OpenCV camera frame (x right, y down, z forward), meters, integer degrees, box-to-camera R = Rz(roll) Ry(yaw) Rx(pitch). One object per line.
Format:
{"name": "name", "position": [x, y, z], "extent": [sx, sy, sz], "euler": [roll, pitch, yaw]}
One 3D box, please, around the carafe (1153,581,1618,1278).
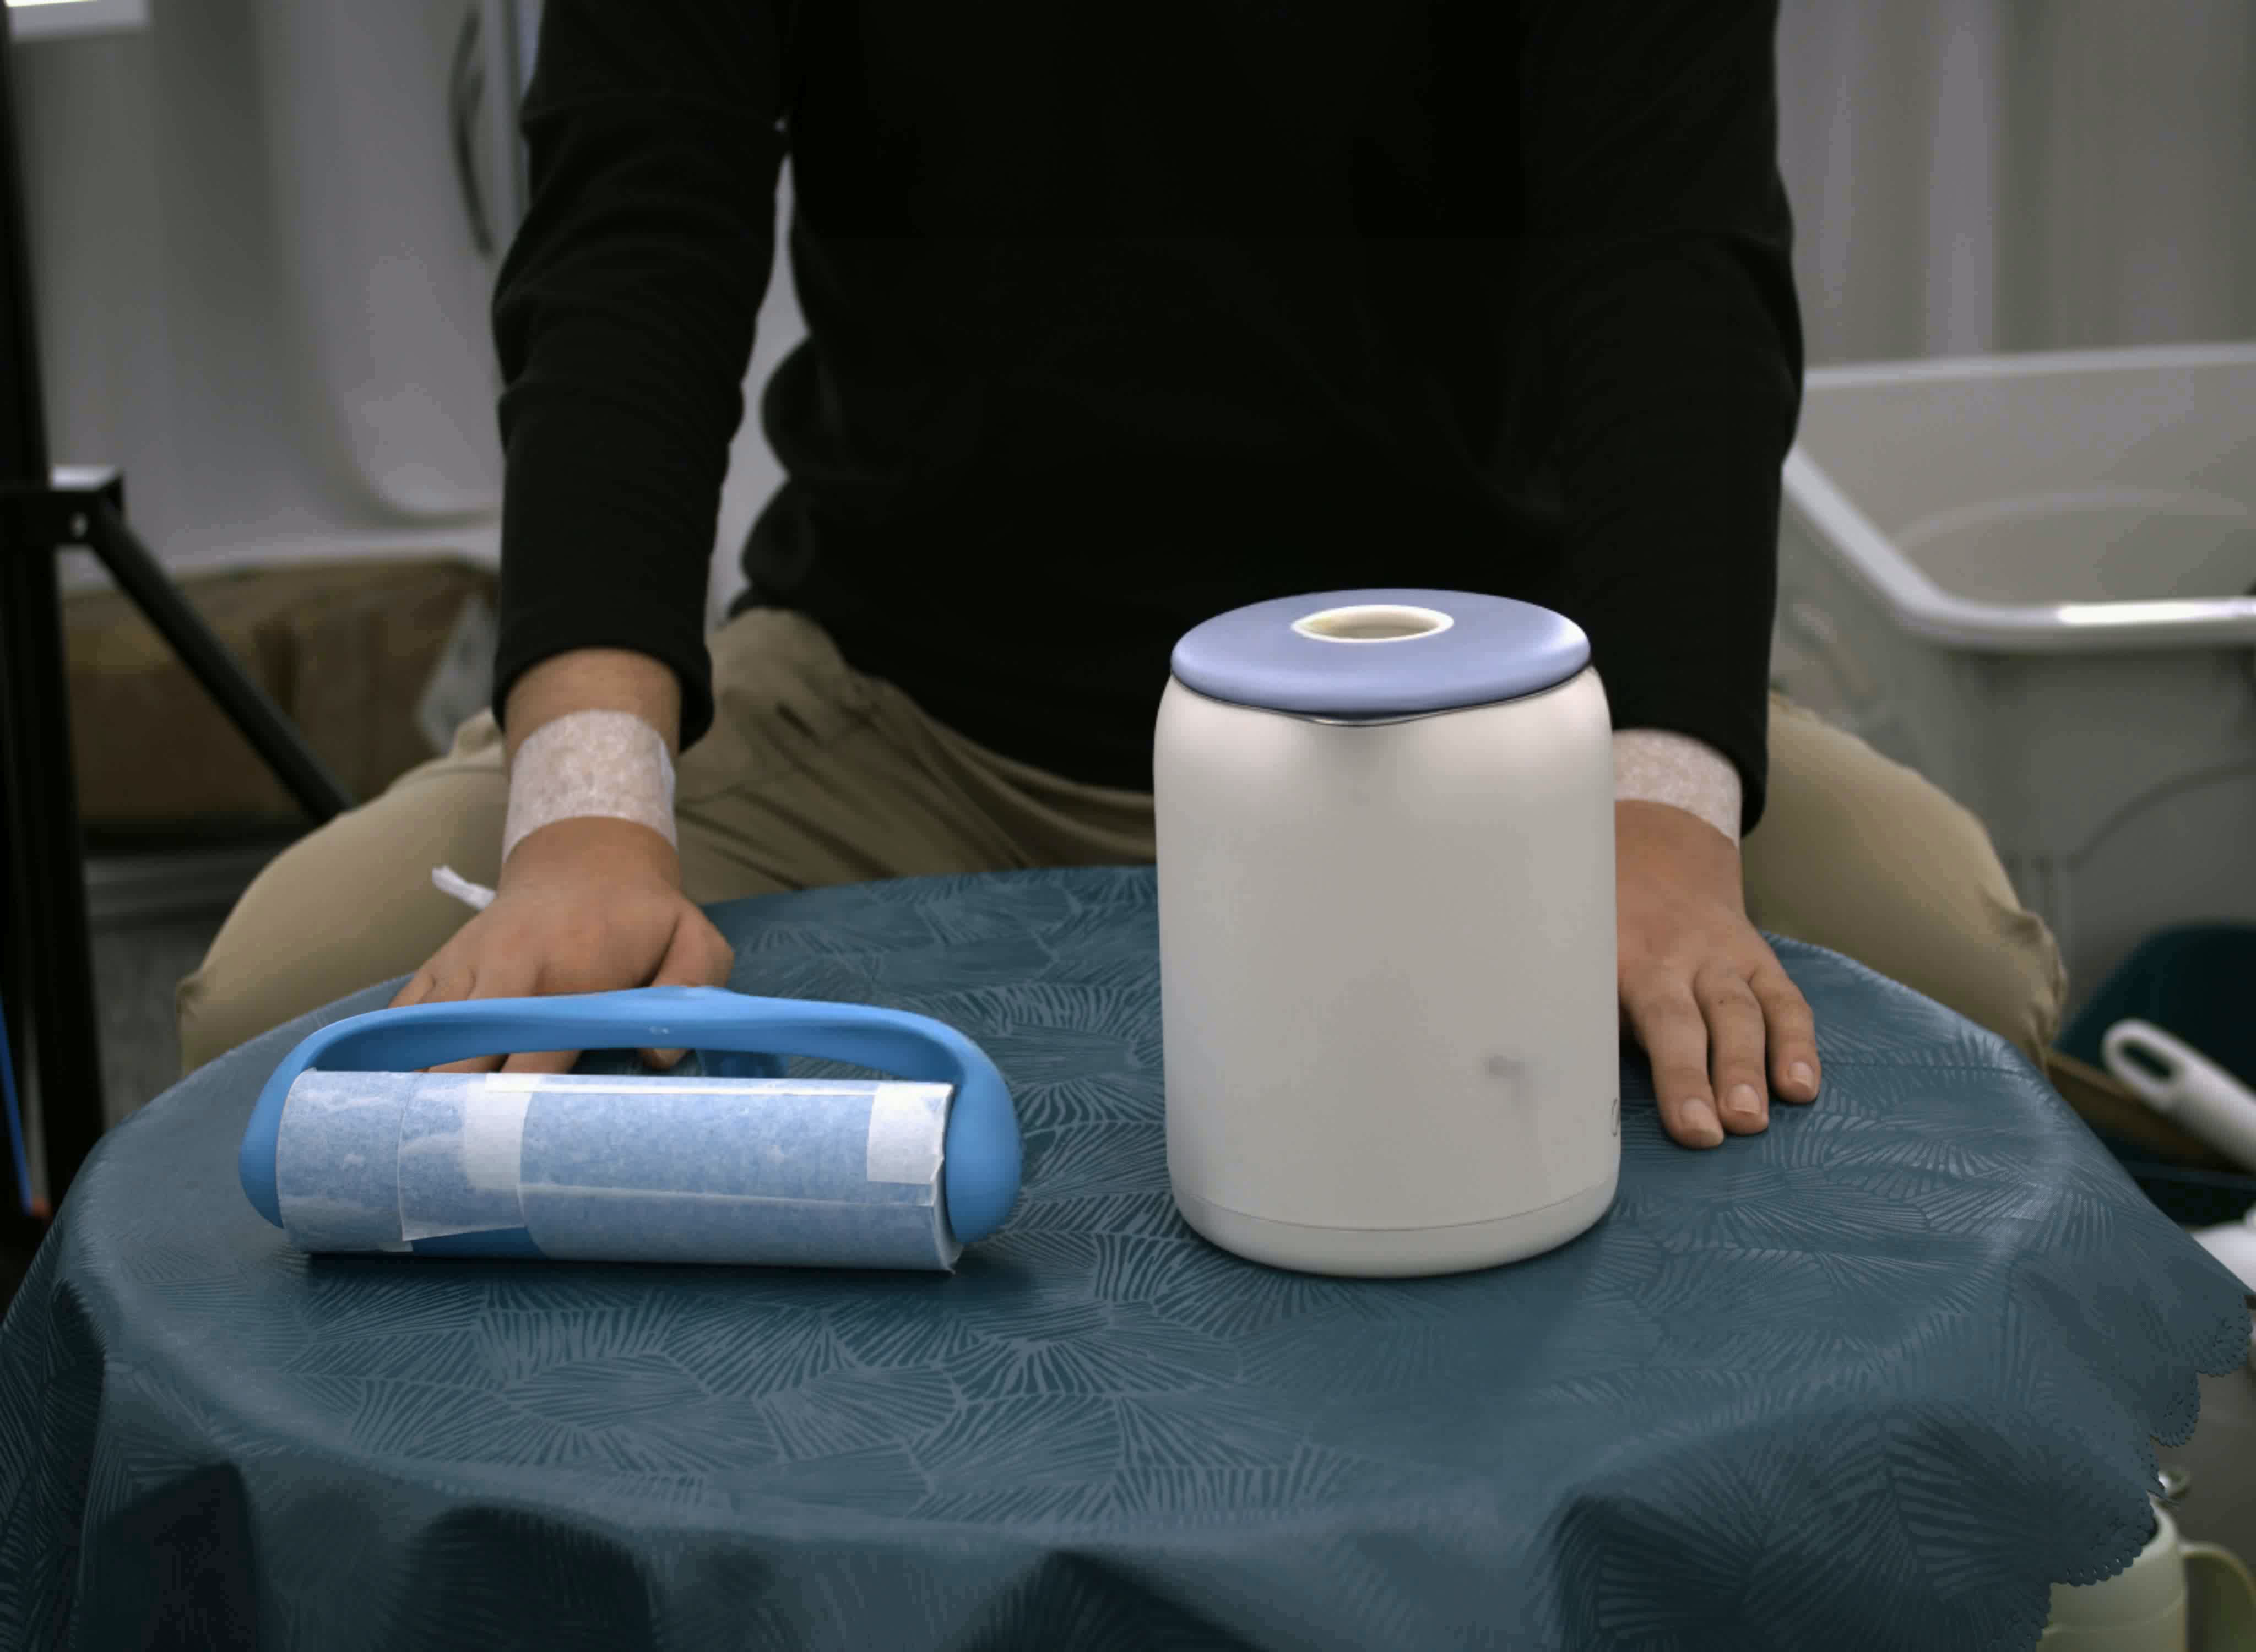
{"name": "carafe", "position": [0.076, 0.022, 1.533], "extent": [0.132, 0.182, 0.190], "euler": [0, 13, 7]}

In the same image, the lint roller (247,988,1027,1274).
{"name": "lint roller", "position": [-0.133, 0.079, 1.574], "extent": [0.230, 0.068, 0.180], "euler": [-3, 20, 10]}
